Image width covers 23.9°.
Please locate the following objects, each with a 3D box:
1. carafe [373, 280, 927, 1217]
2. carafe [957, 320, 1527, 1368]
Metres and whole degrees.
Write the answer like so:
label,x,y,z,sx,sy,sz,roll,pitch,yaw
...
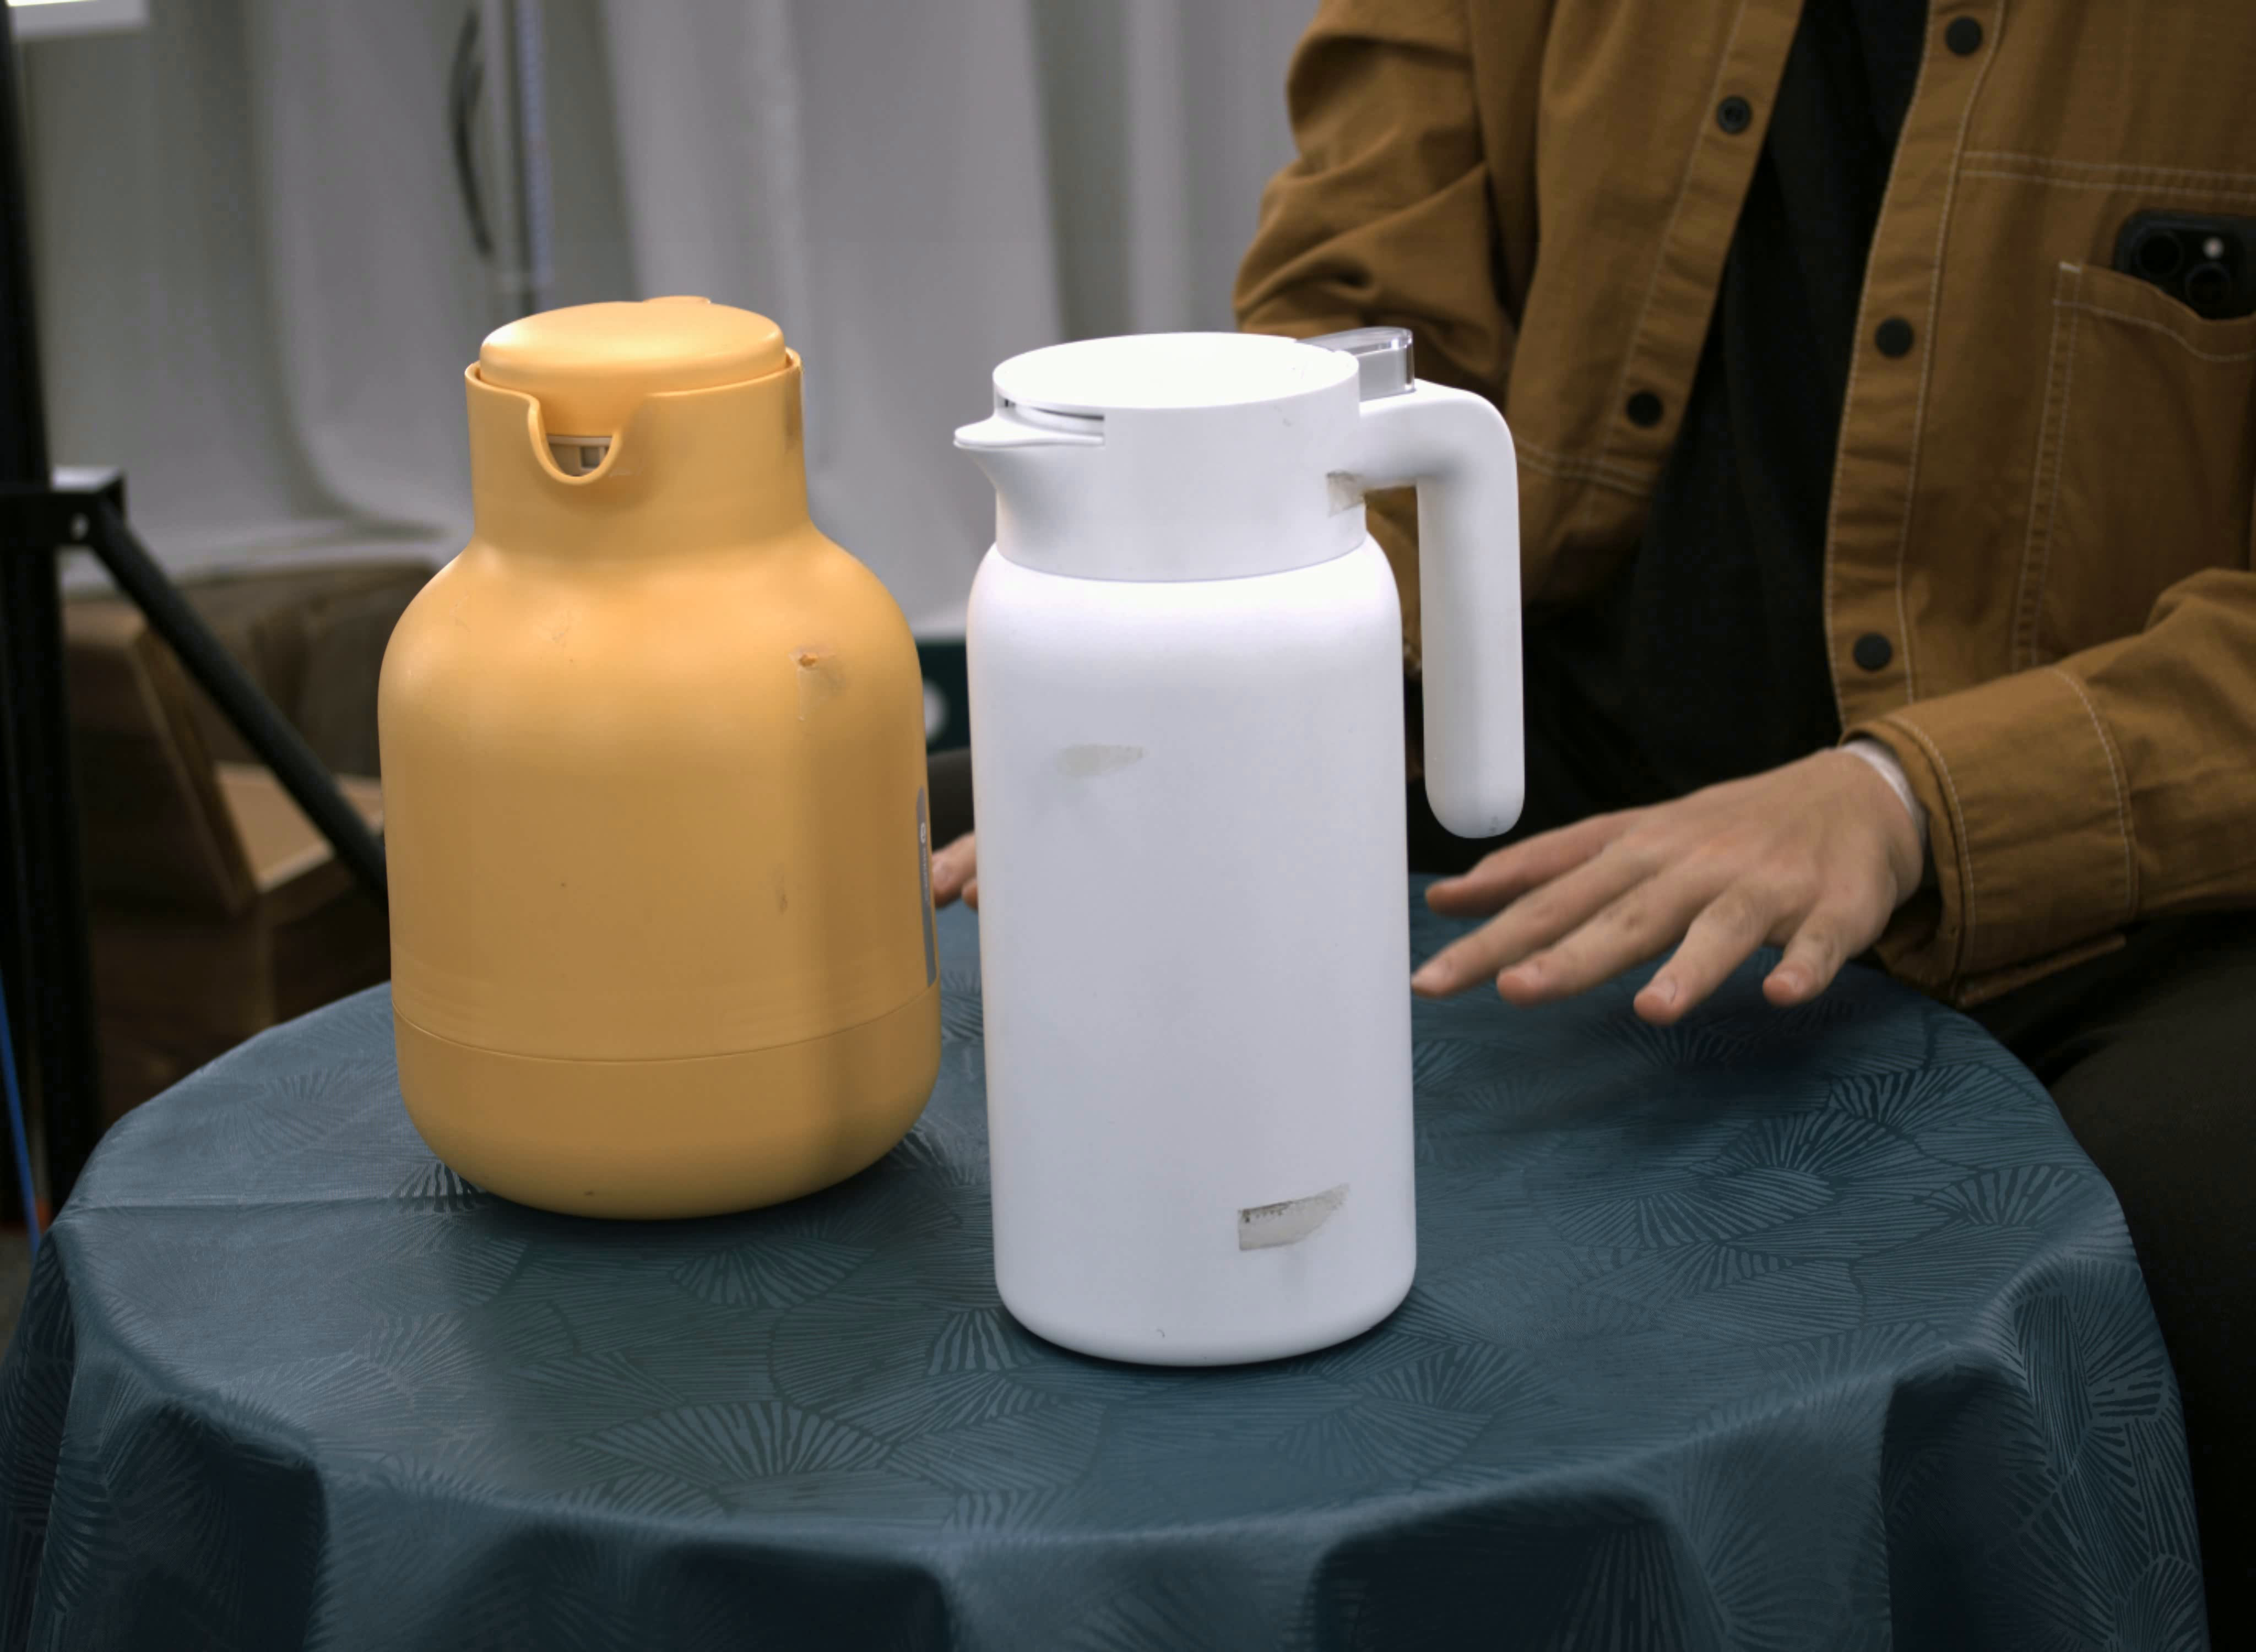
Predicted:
label,x,y,z,sx,sy,sz,roll,pitch,yaw
carafe,-0.136,-0.031,1.587,0.164,0.260,0.201,4,17,11
carafe,0.032,0.001,1.440,0.169,0.269,0.126,-11,16,-31
